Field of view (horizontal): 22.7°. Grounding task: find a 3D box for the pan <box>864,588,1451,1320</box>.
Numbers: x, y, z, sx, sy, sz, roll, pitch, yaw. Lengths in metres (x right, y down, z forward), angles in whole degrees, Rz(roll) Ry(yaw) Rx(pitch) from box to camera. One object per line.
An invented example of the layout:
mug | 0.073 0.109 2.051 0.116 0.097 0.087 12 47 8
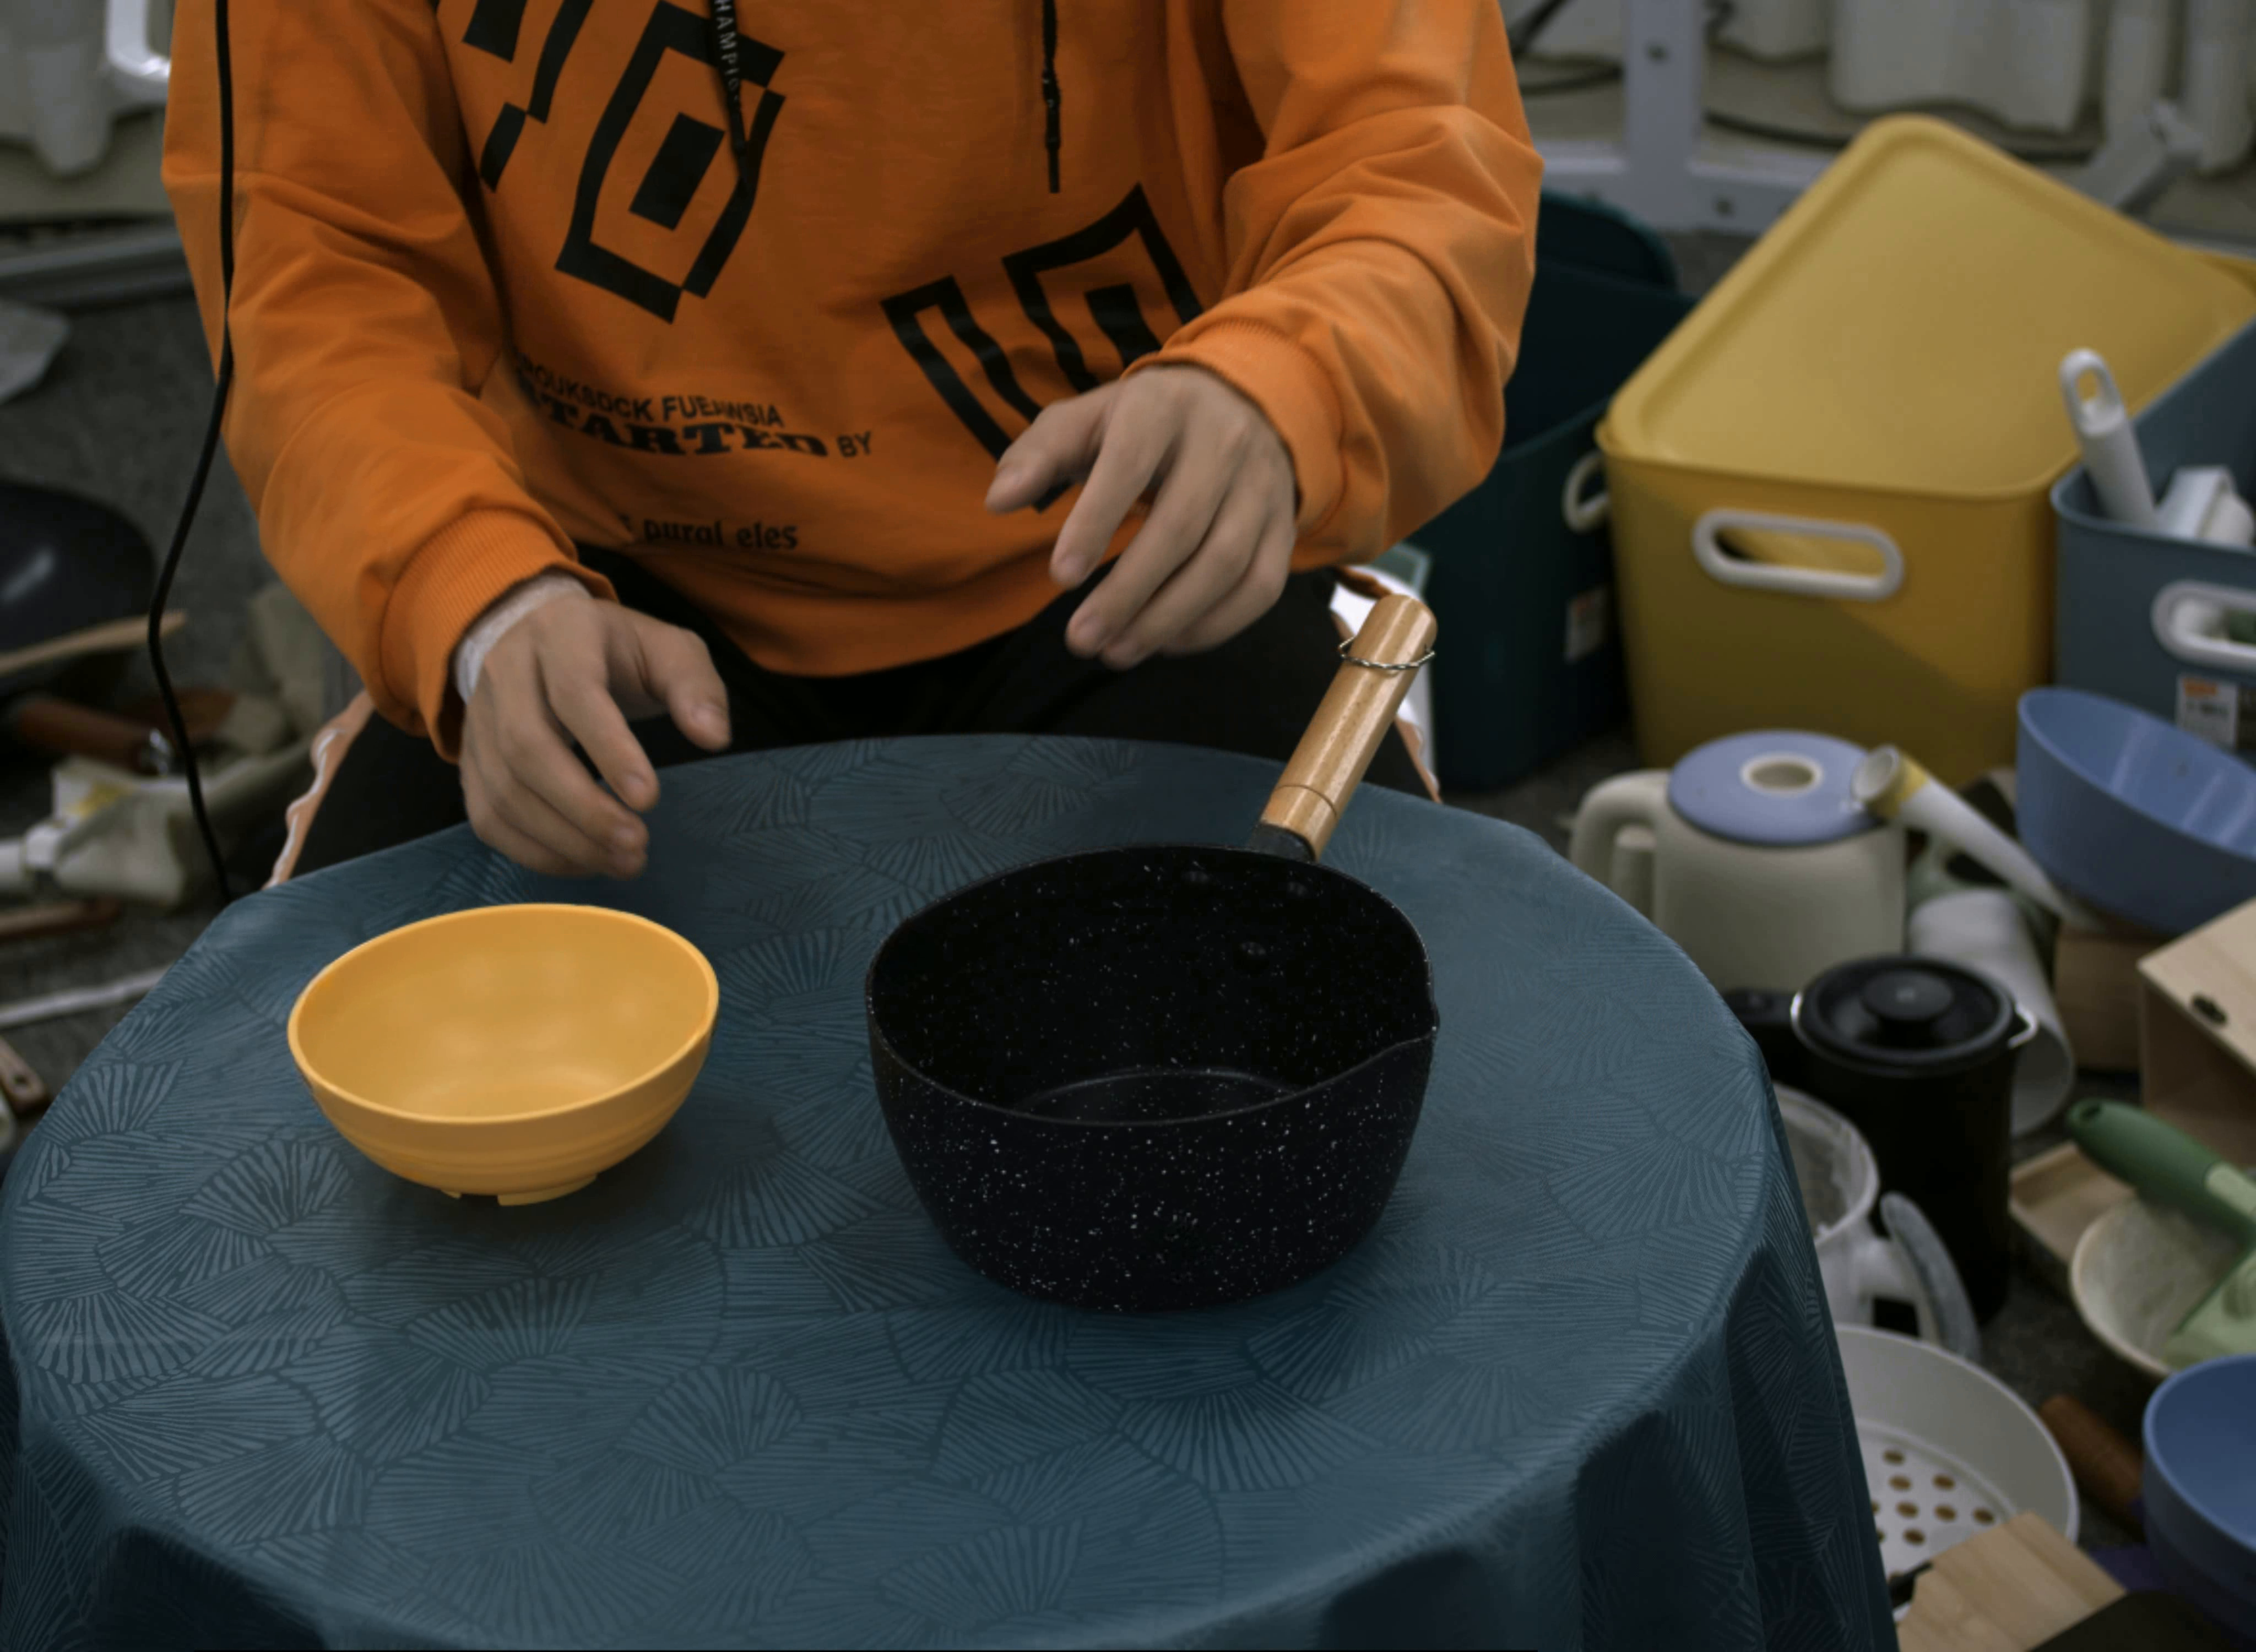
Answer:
pan | 0.037 0.039 1.901 0.206 0.107 0.349 7 30 21

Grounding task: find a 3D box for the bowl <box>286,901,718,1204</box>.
bowl | -0.208 0.086 1.888 0.144 0.059 0.147 -1 28 1
